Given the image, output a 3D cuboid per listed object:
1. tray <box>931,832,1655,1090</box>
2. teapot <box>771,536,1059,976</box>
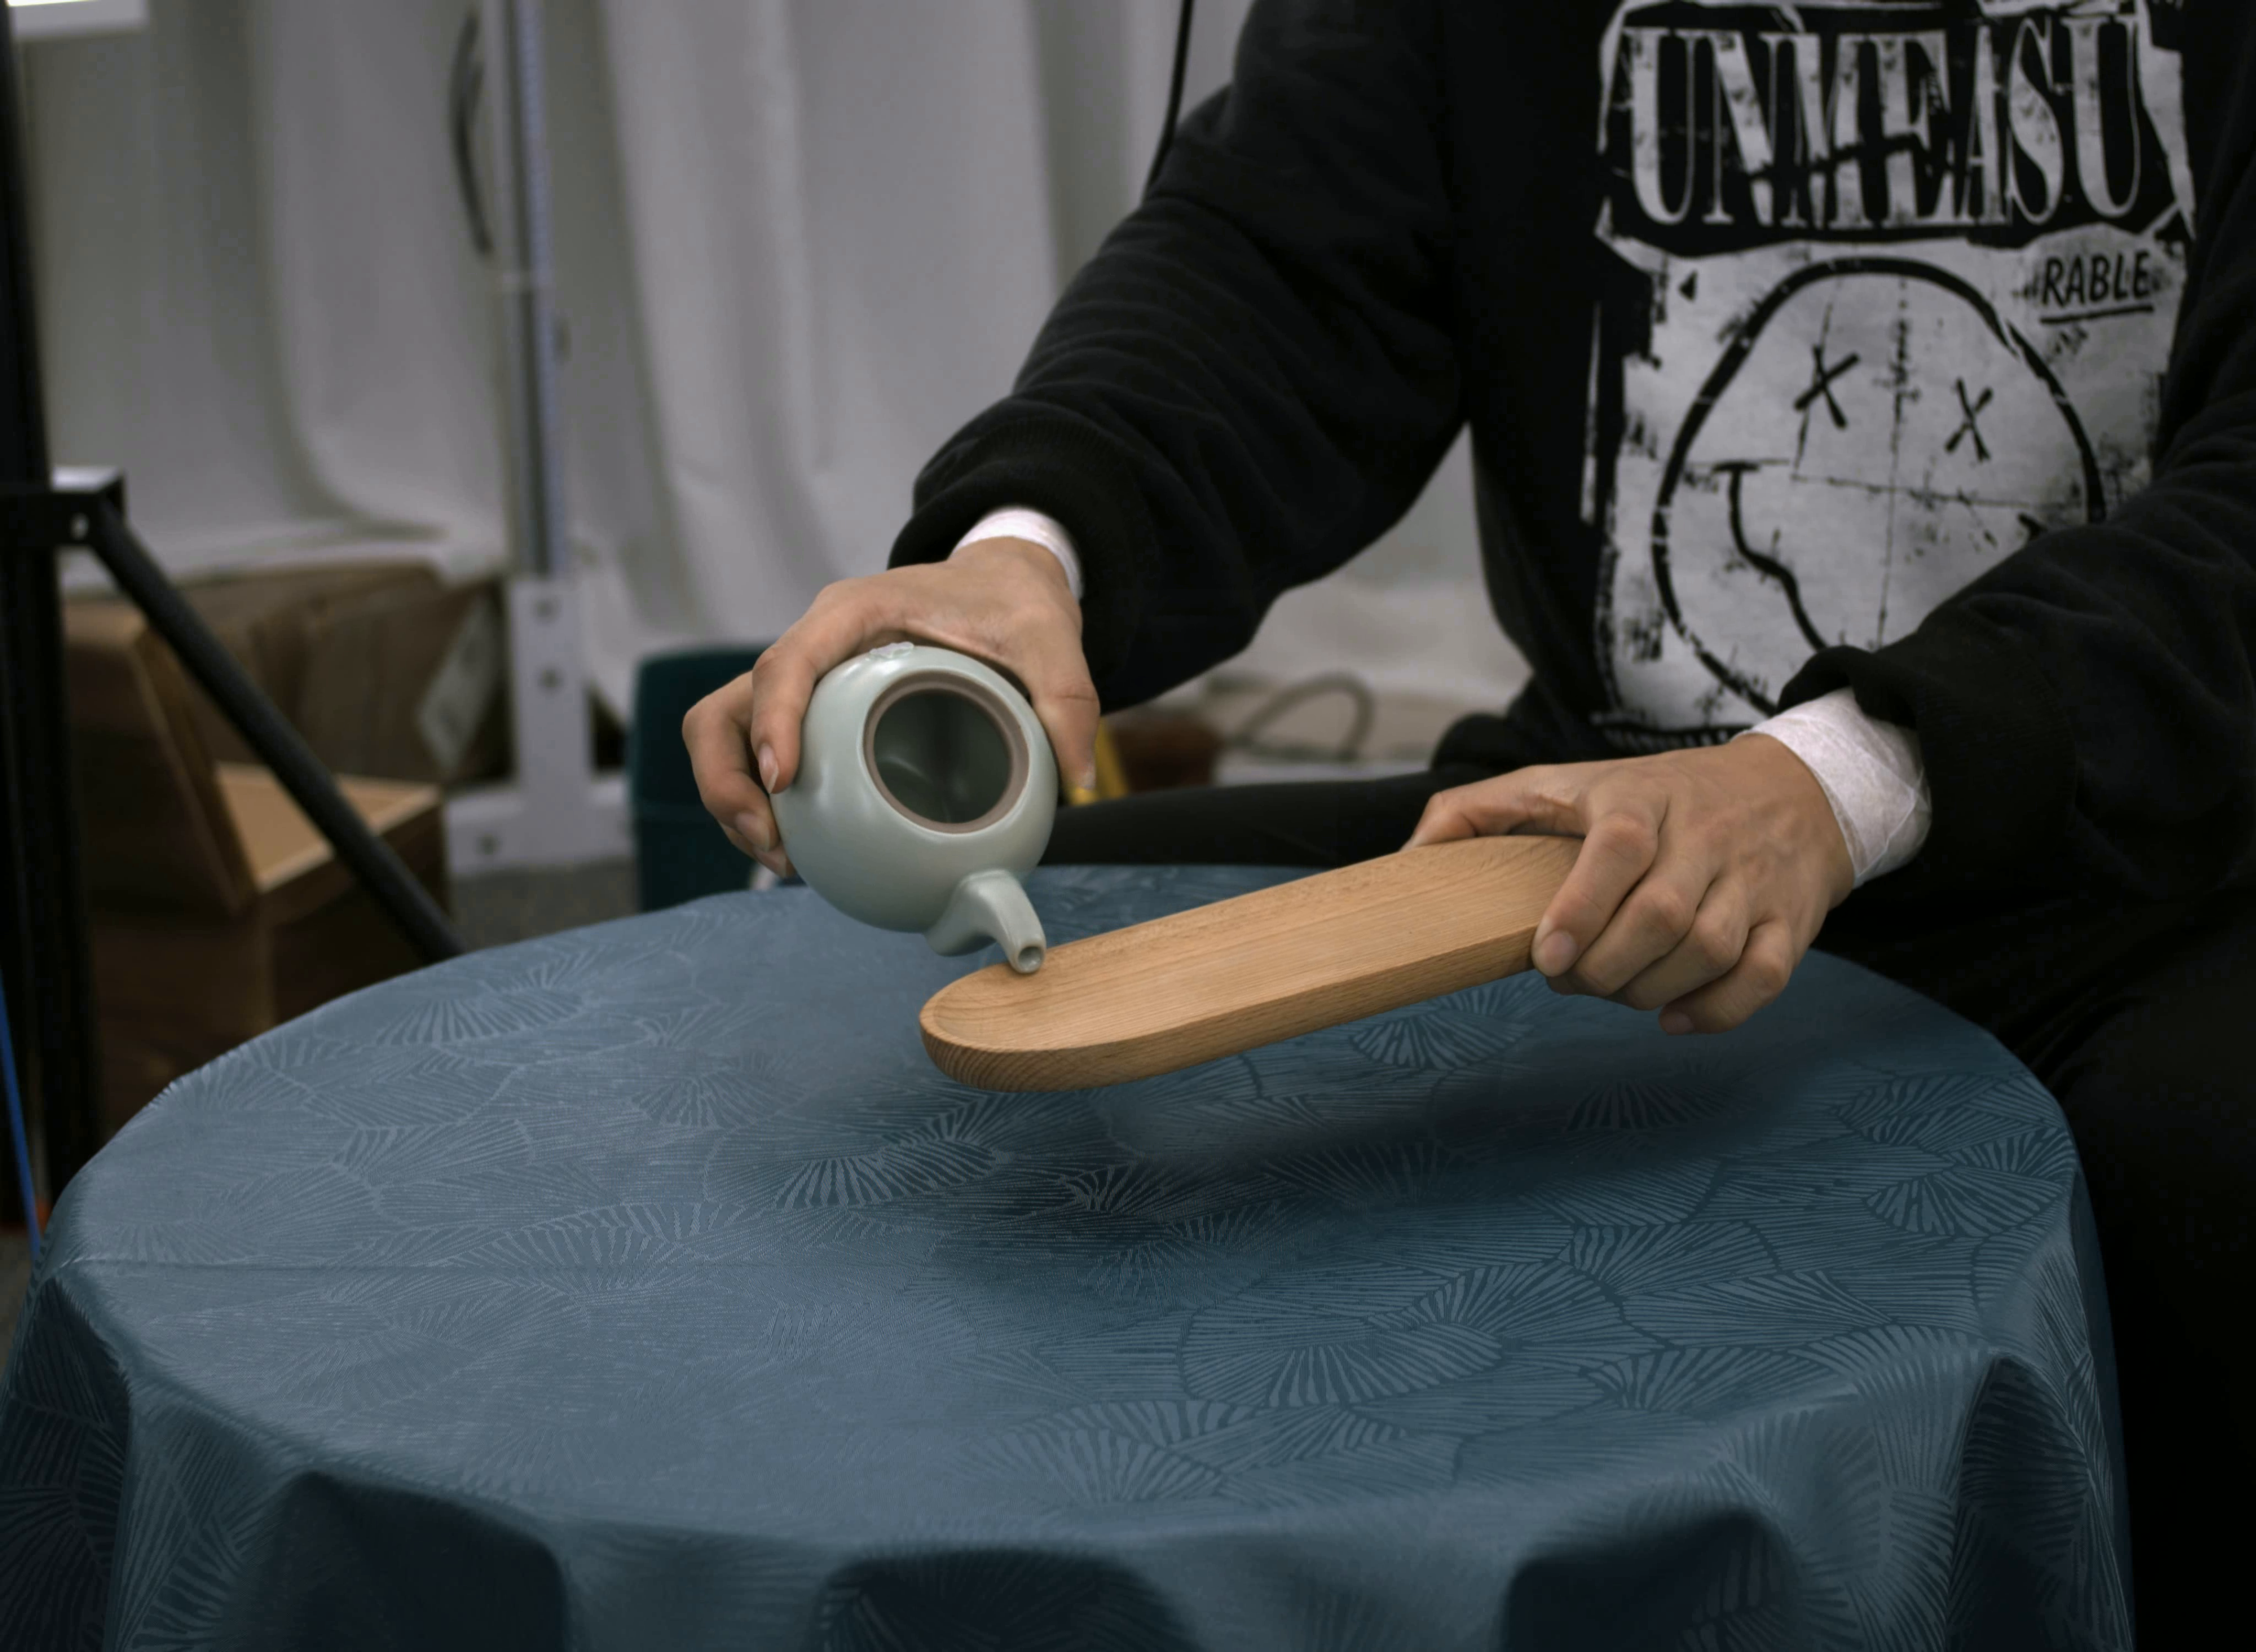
[{"bbox_3d":[0.051,0.039,1.565,0.227,0.020,0.104,-14,18,-24],"label":"tray"},{"bbox_3d":[-0.064,-0.012,1.616,0.086,0.145,0.075,-12,-15,-27],"label":"teapot"}]
